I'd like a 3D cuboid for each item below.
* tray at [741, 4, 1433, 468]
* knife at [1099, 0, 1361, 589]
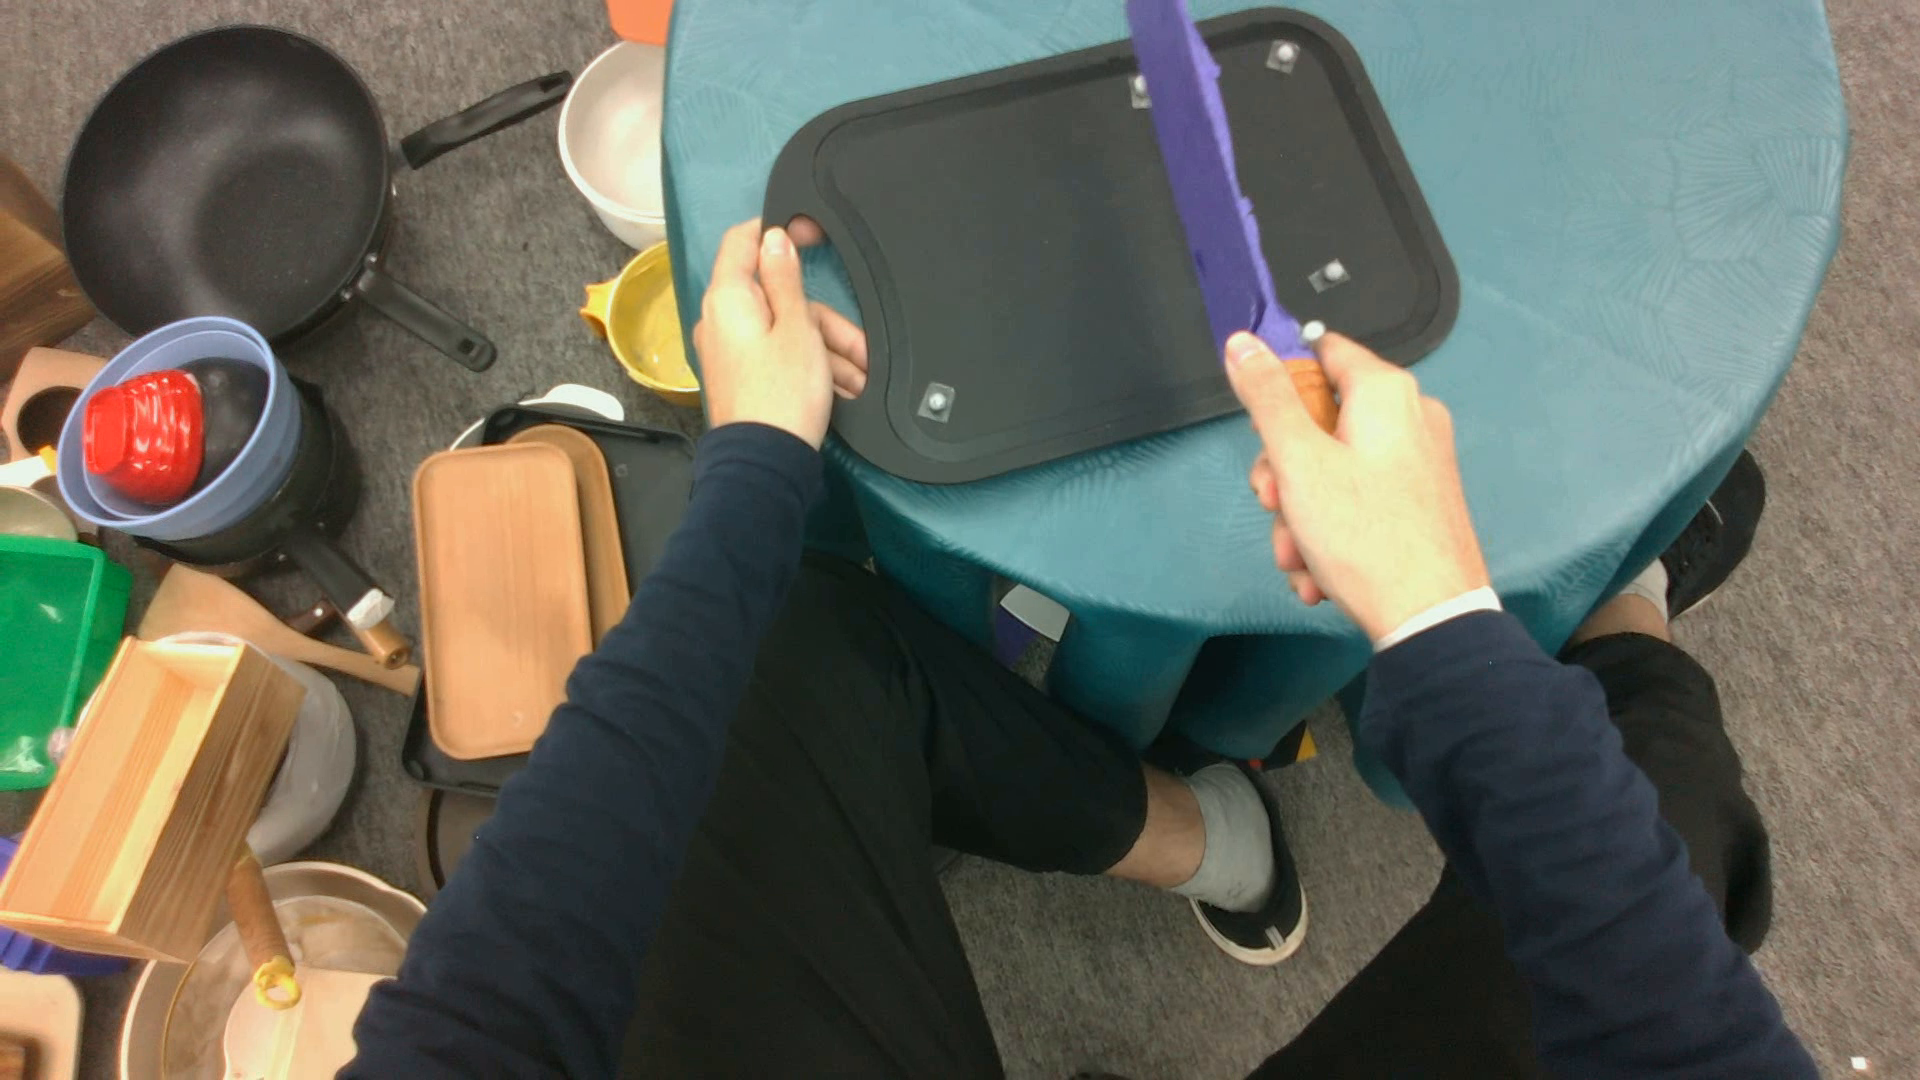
[{"bbox_3d":[0.058,-0.153,0.669,0.326,0.010,0.211,-15,73,-8],"label":"tray"},{"bbox_3d":[0.105,-0.126,0.582,0.032,0.103,0.316,-11,76,-2],"label":"knife"}]
